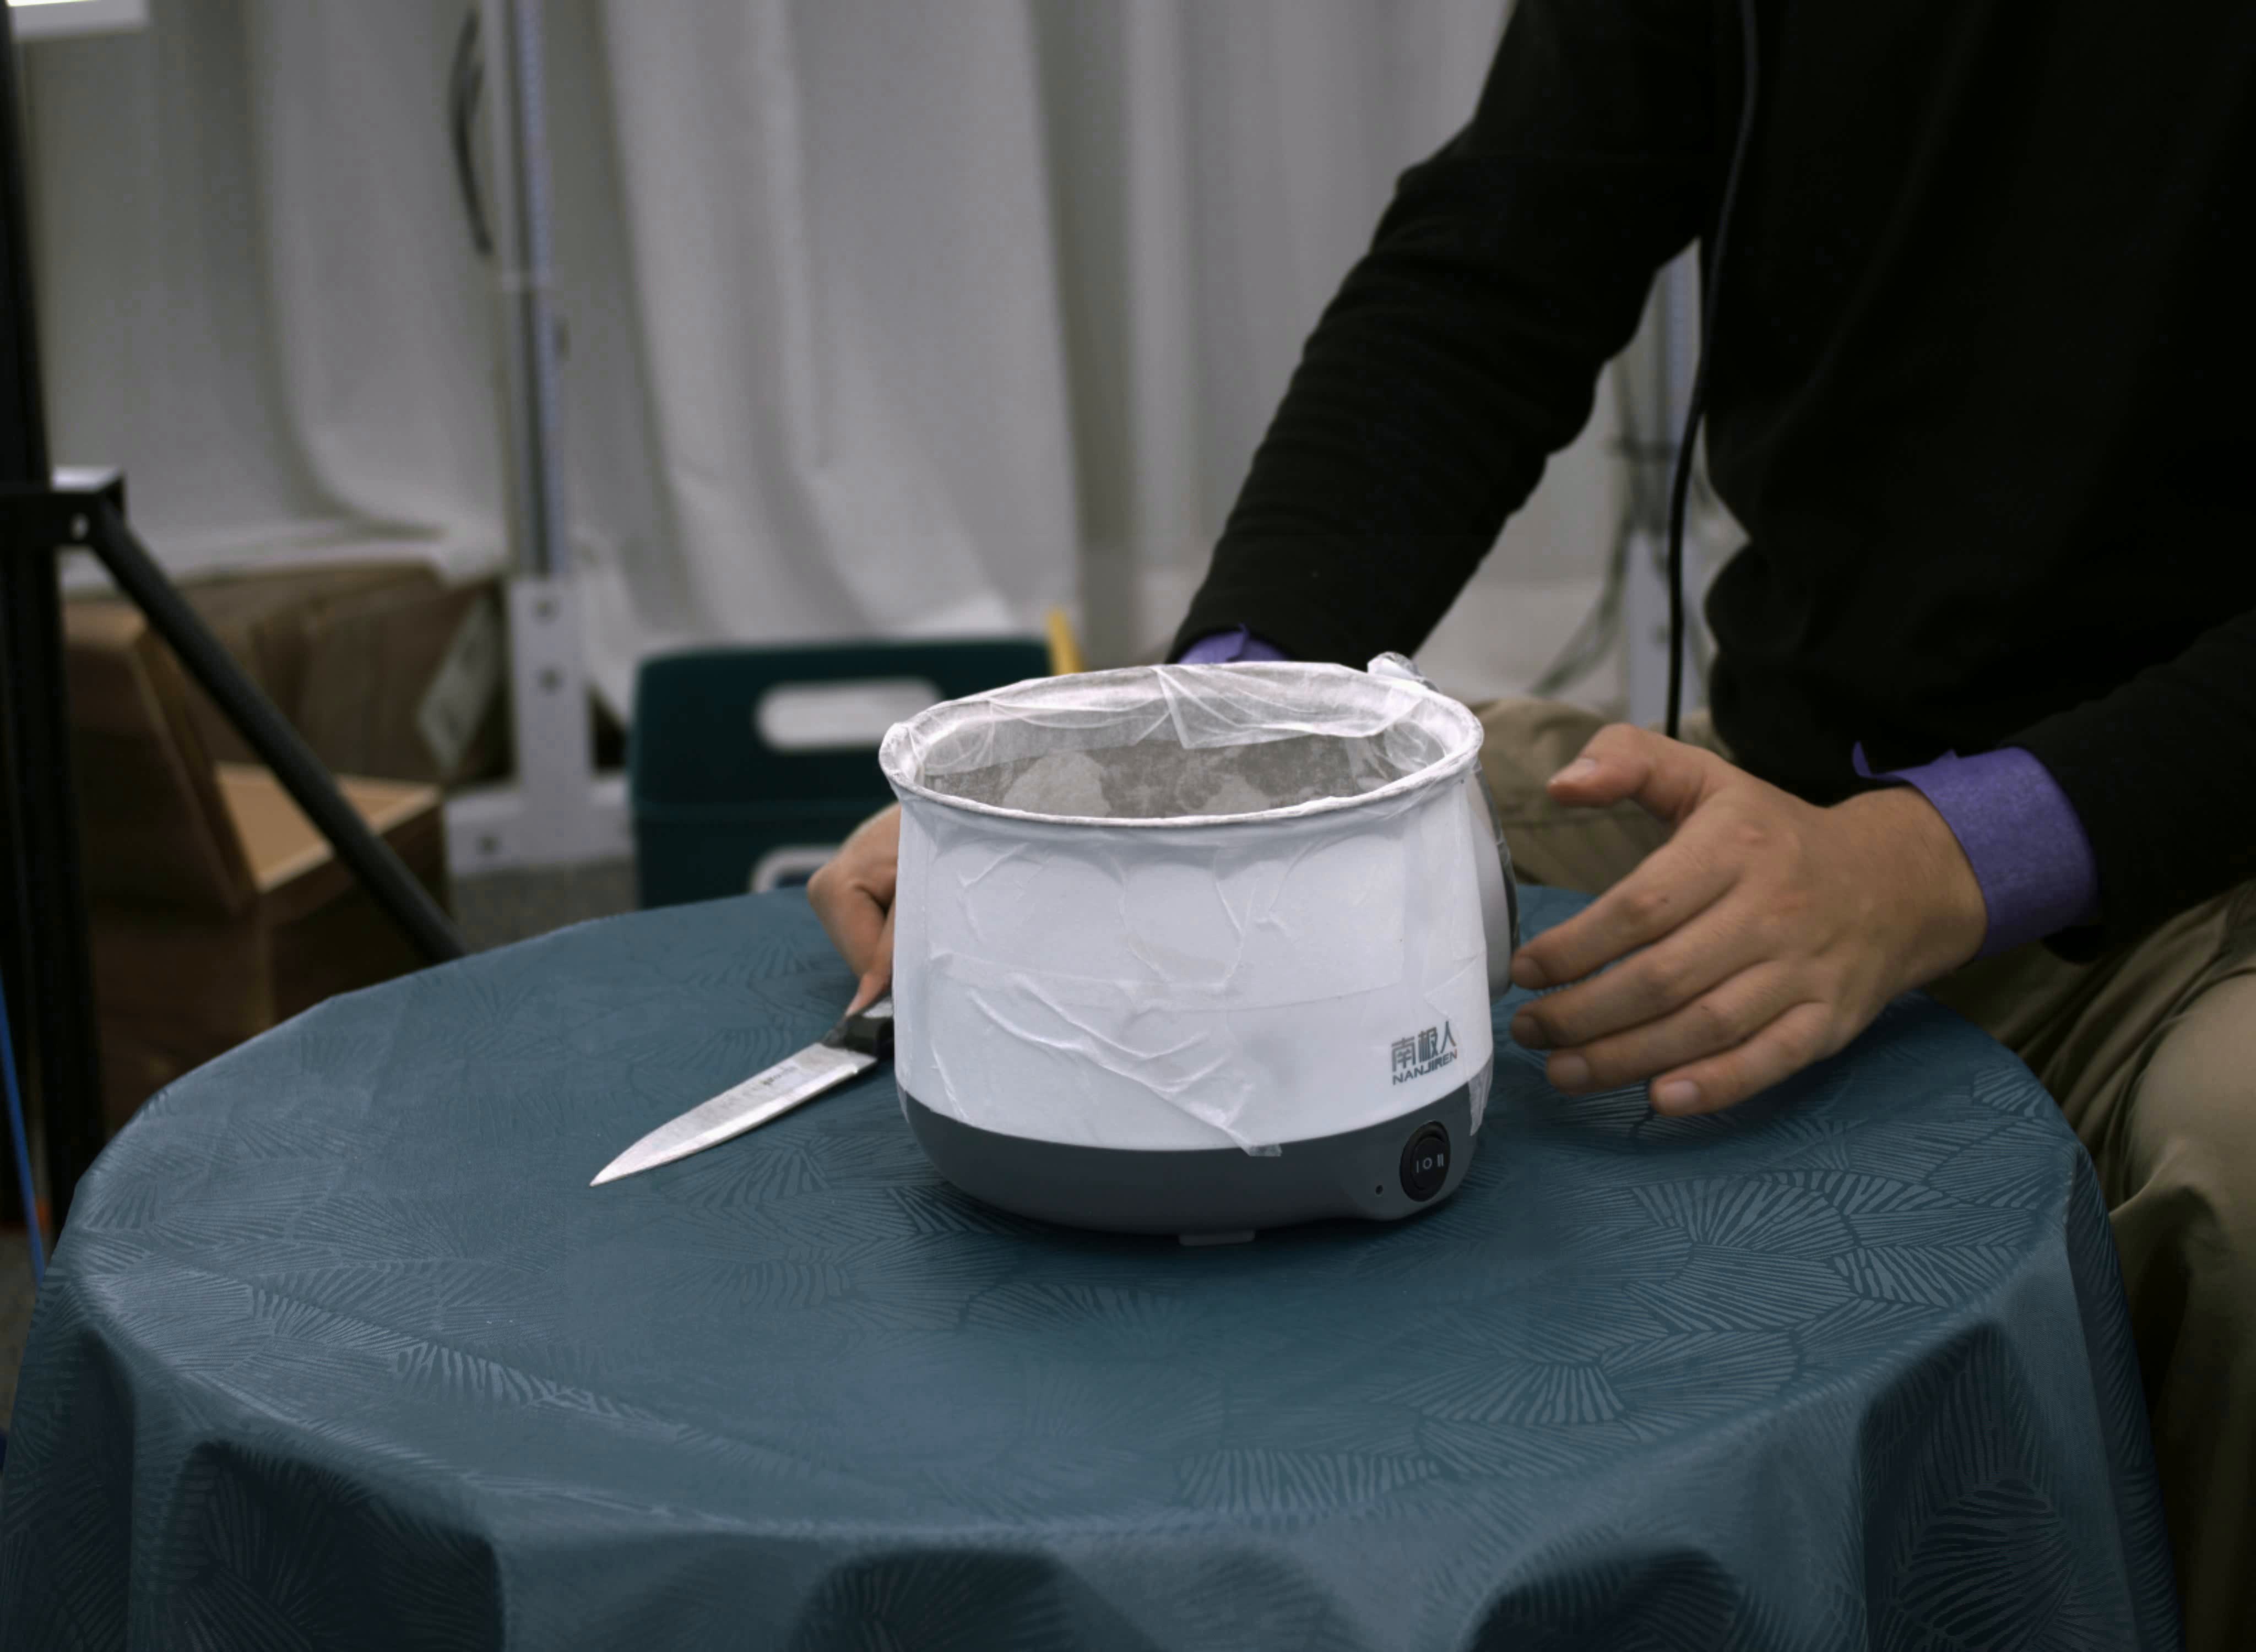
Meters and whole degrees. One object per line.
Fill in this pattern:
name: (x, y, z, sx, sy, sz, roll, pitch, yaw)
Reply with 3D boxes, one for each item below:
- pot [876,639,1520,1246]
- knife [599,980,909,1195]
pot: (0.035, 0.027, 1.576, 0.182, 0.136, 0.229, 12, 22, 39)
knife: (-0.092, 0.073, 1.672, 0.025, 0.016, 0.234, 22, 29, 29)
